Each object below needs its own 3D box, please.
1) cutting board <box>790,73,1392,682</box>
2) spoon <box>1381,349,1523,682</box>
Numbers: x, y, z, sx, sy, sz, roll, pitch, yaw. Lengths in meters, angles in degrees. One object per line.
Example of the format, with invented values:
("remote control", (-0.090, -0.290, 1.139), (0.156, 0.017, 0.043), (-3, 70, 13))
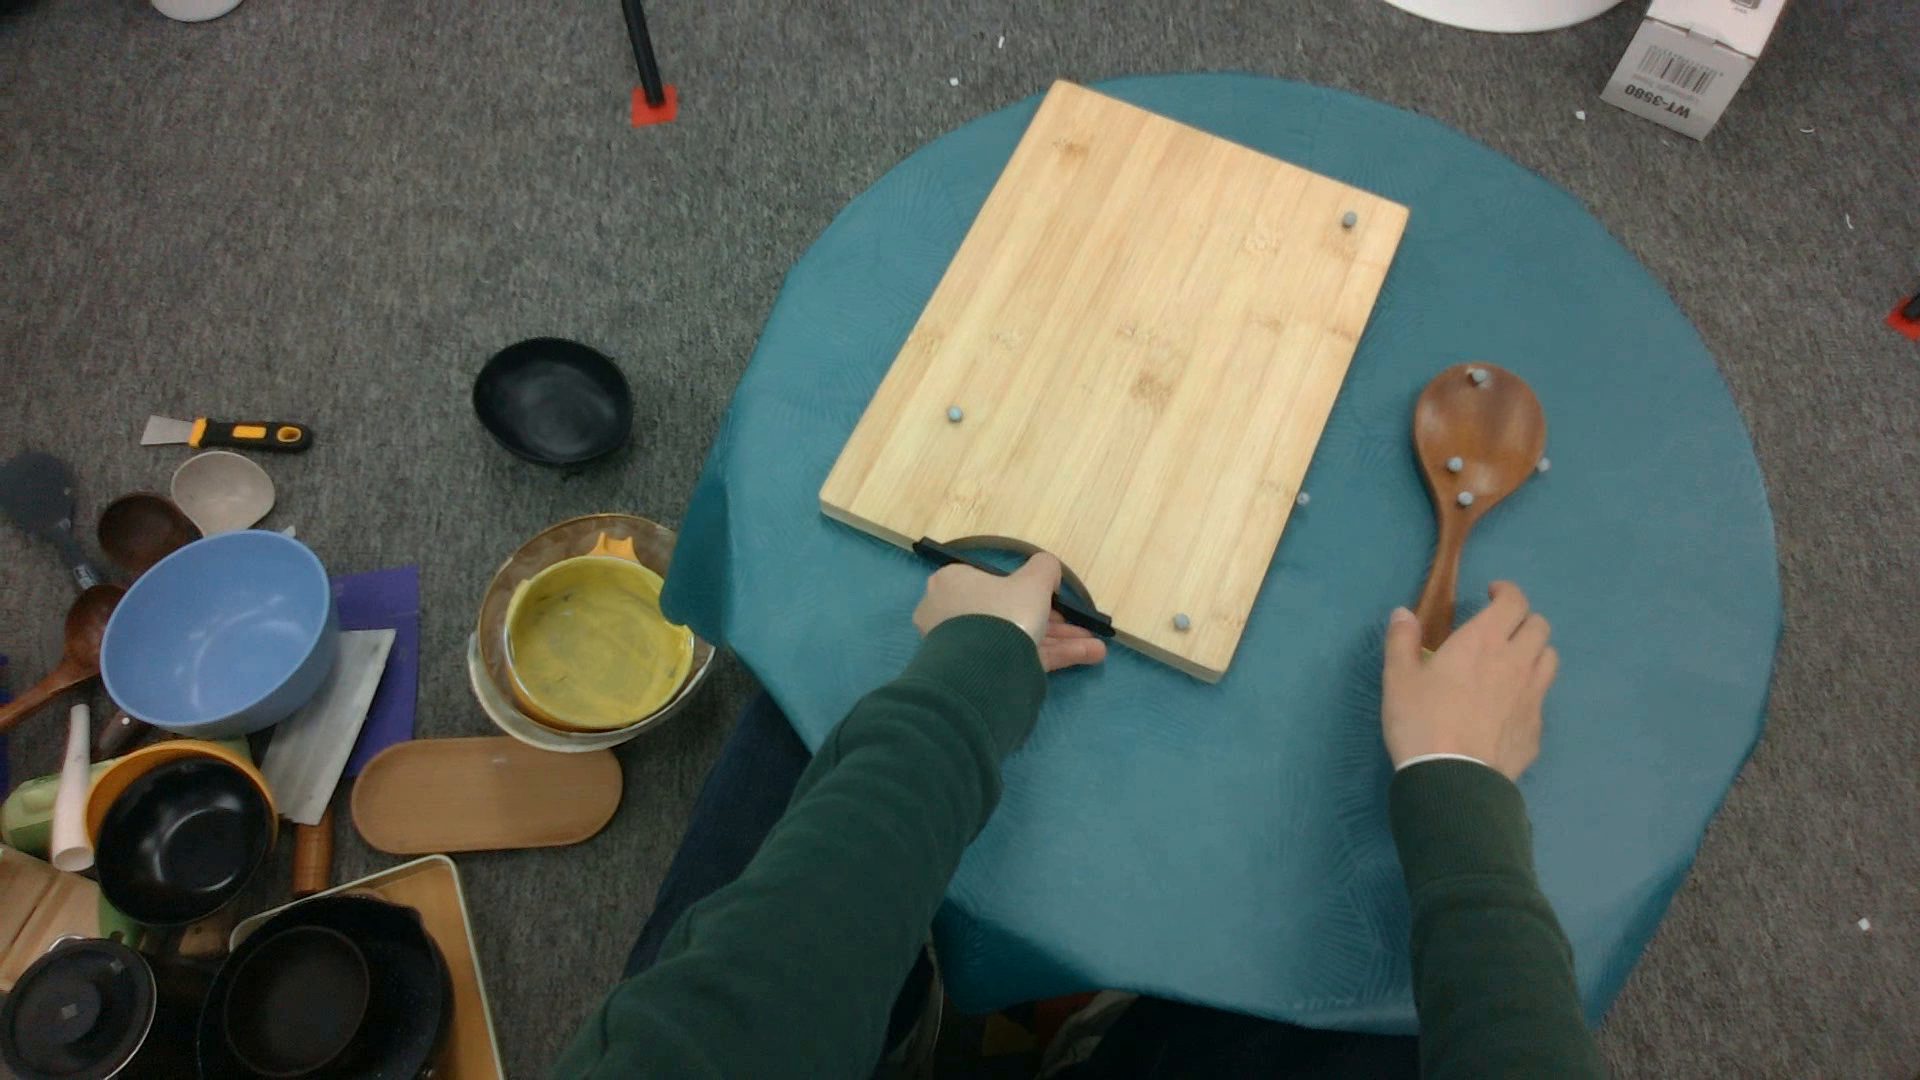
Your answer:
("cutting board", (0.088, -0.113, 0.809), (0.250, 0.023, 0.350), (22, 65, 8))
("spoon", (0.267, -0.018, 0.771), (0.075, 0.017, 0.217), (19, 64, 5))
